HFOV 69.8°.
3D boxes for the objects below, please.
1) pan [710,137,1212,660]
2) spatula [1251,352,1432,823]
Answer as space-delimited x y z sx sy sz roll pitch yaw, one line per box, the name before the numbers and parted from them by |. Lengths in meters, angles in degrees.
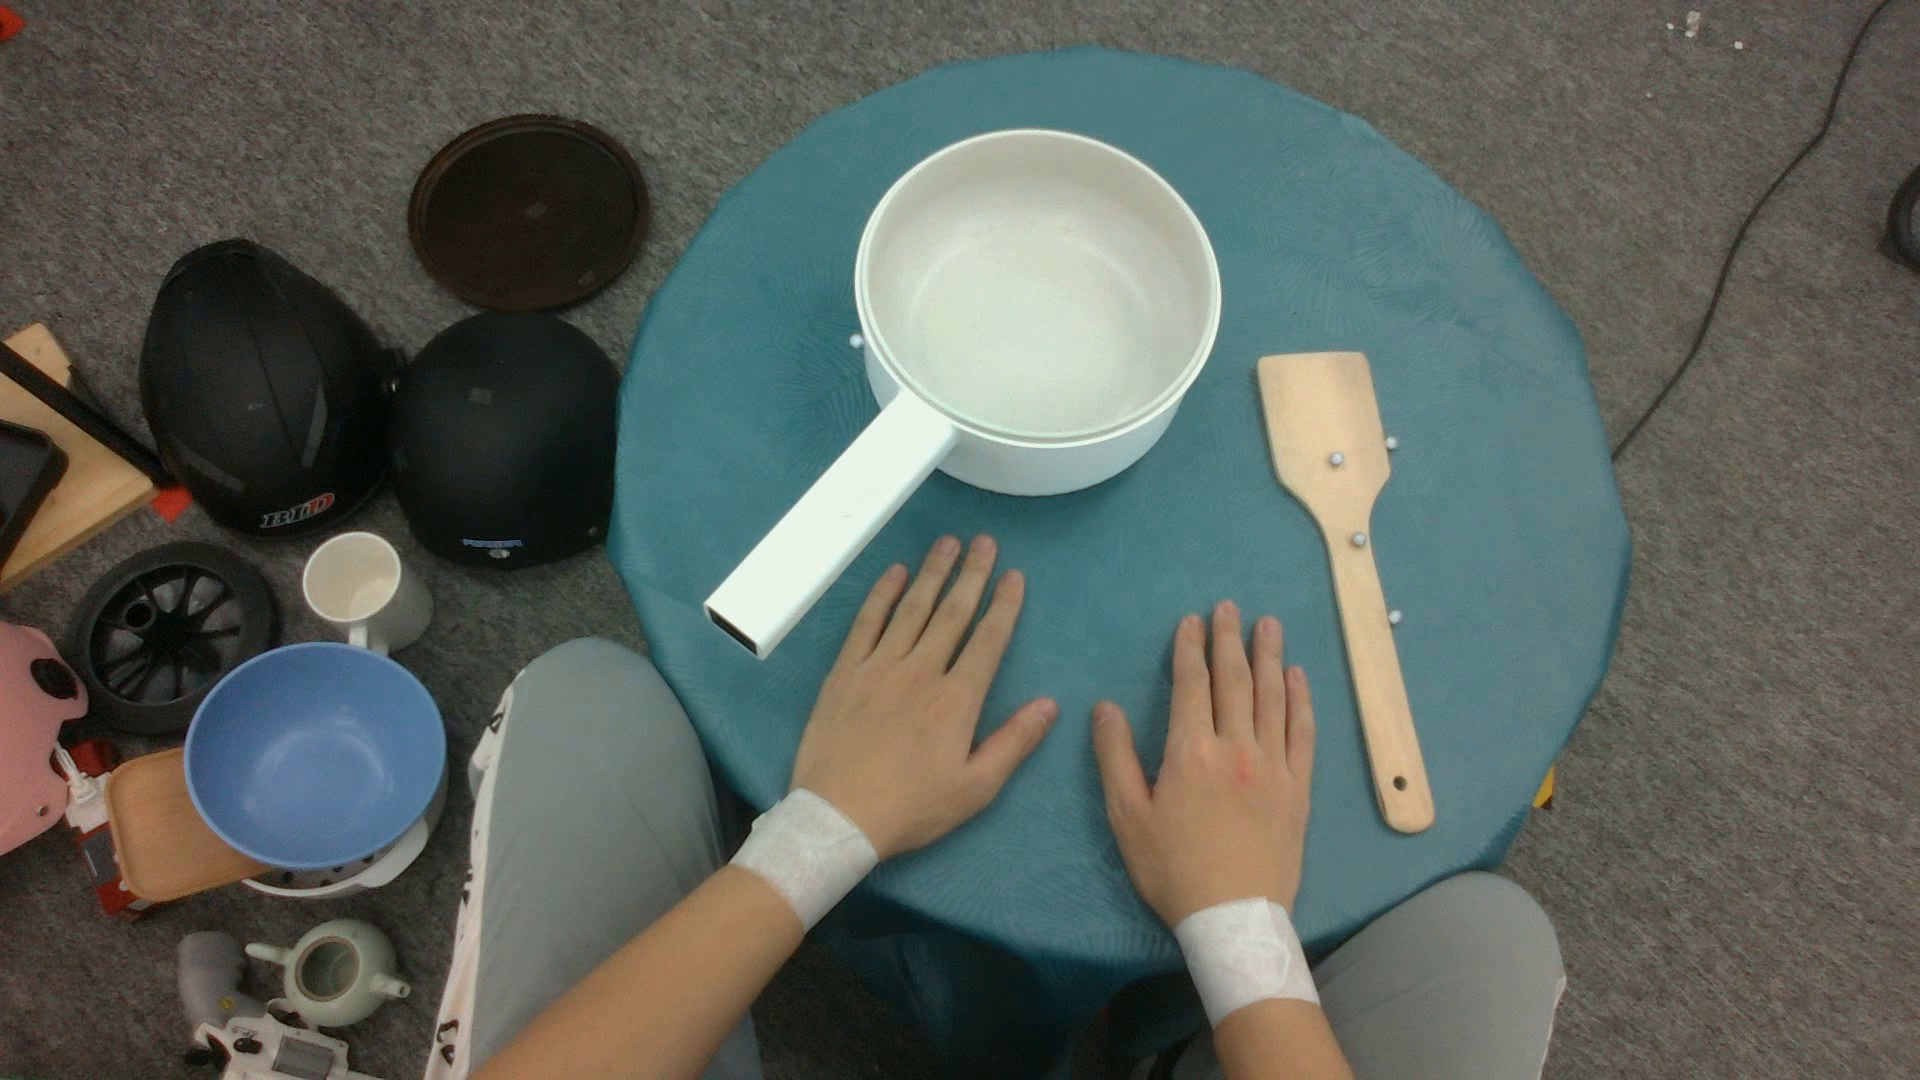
pan | -0.007 -0.069 0.783 0.201 0.101 0.356 36 70 9
spatula | 0.231 0.019 0.804 0.072 0.010 0.294 -4 67 -6
